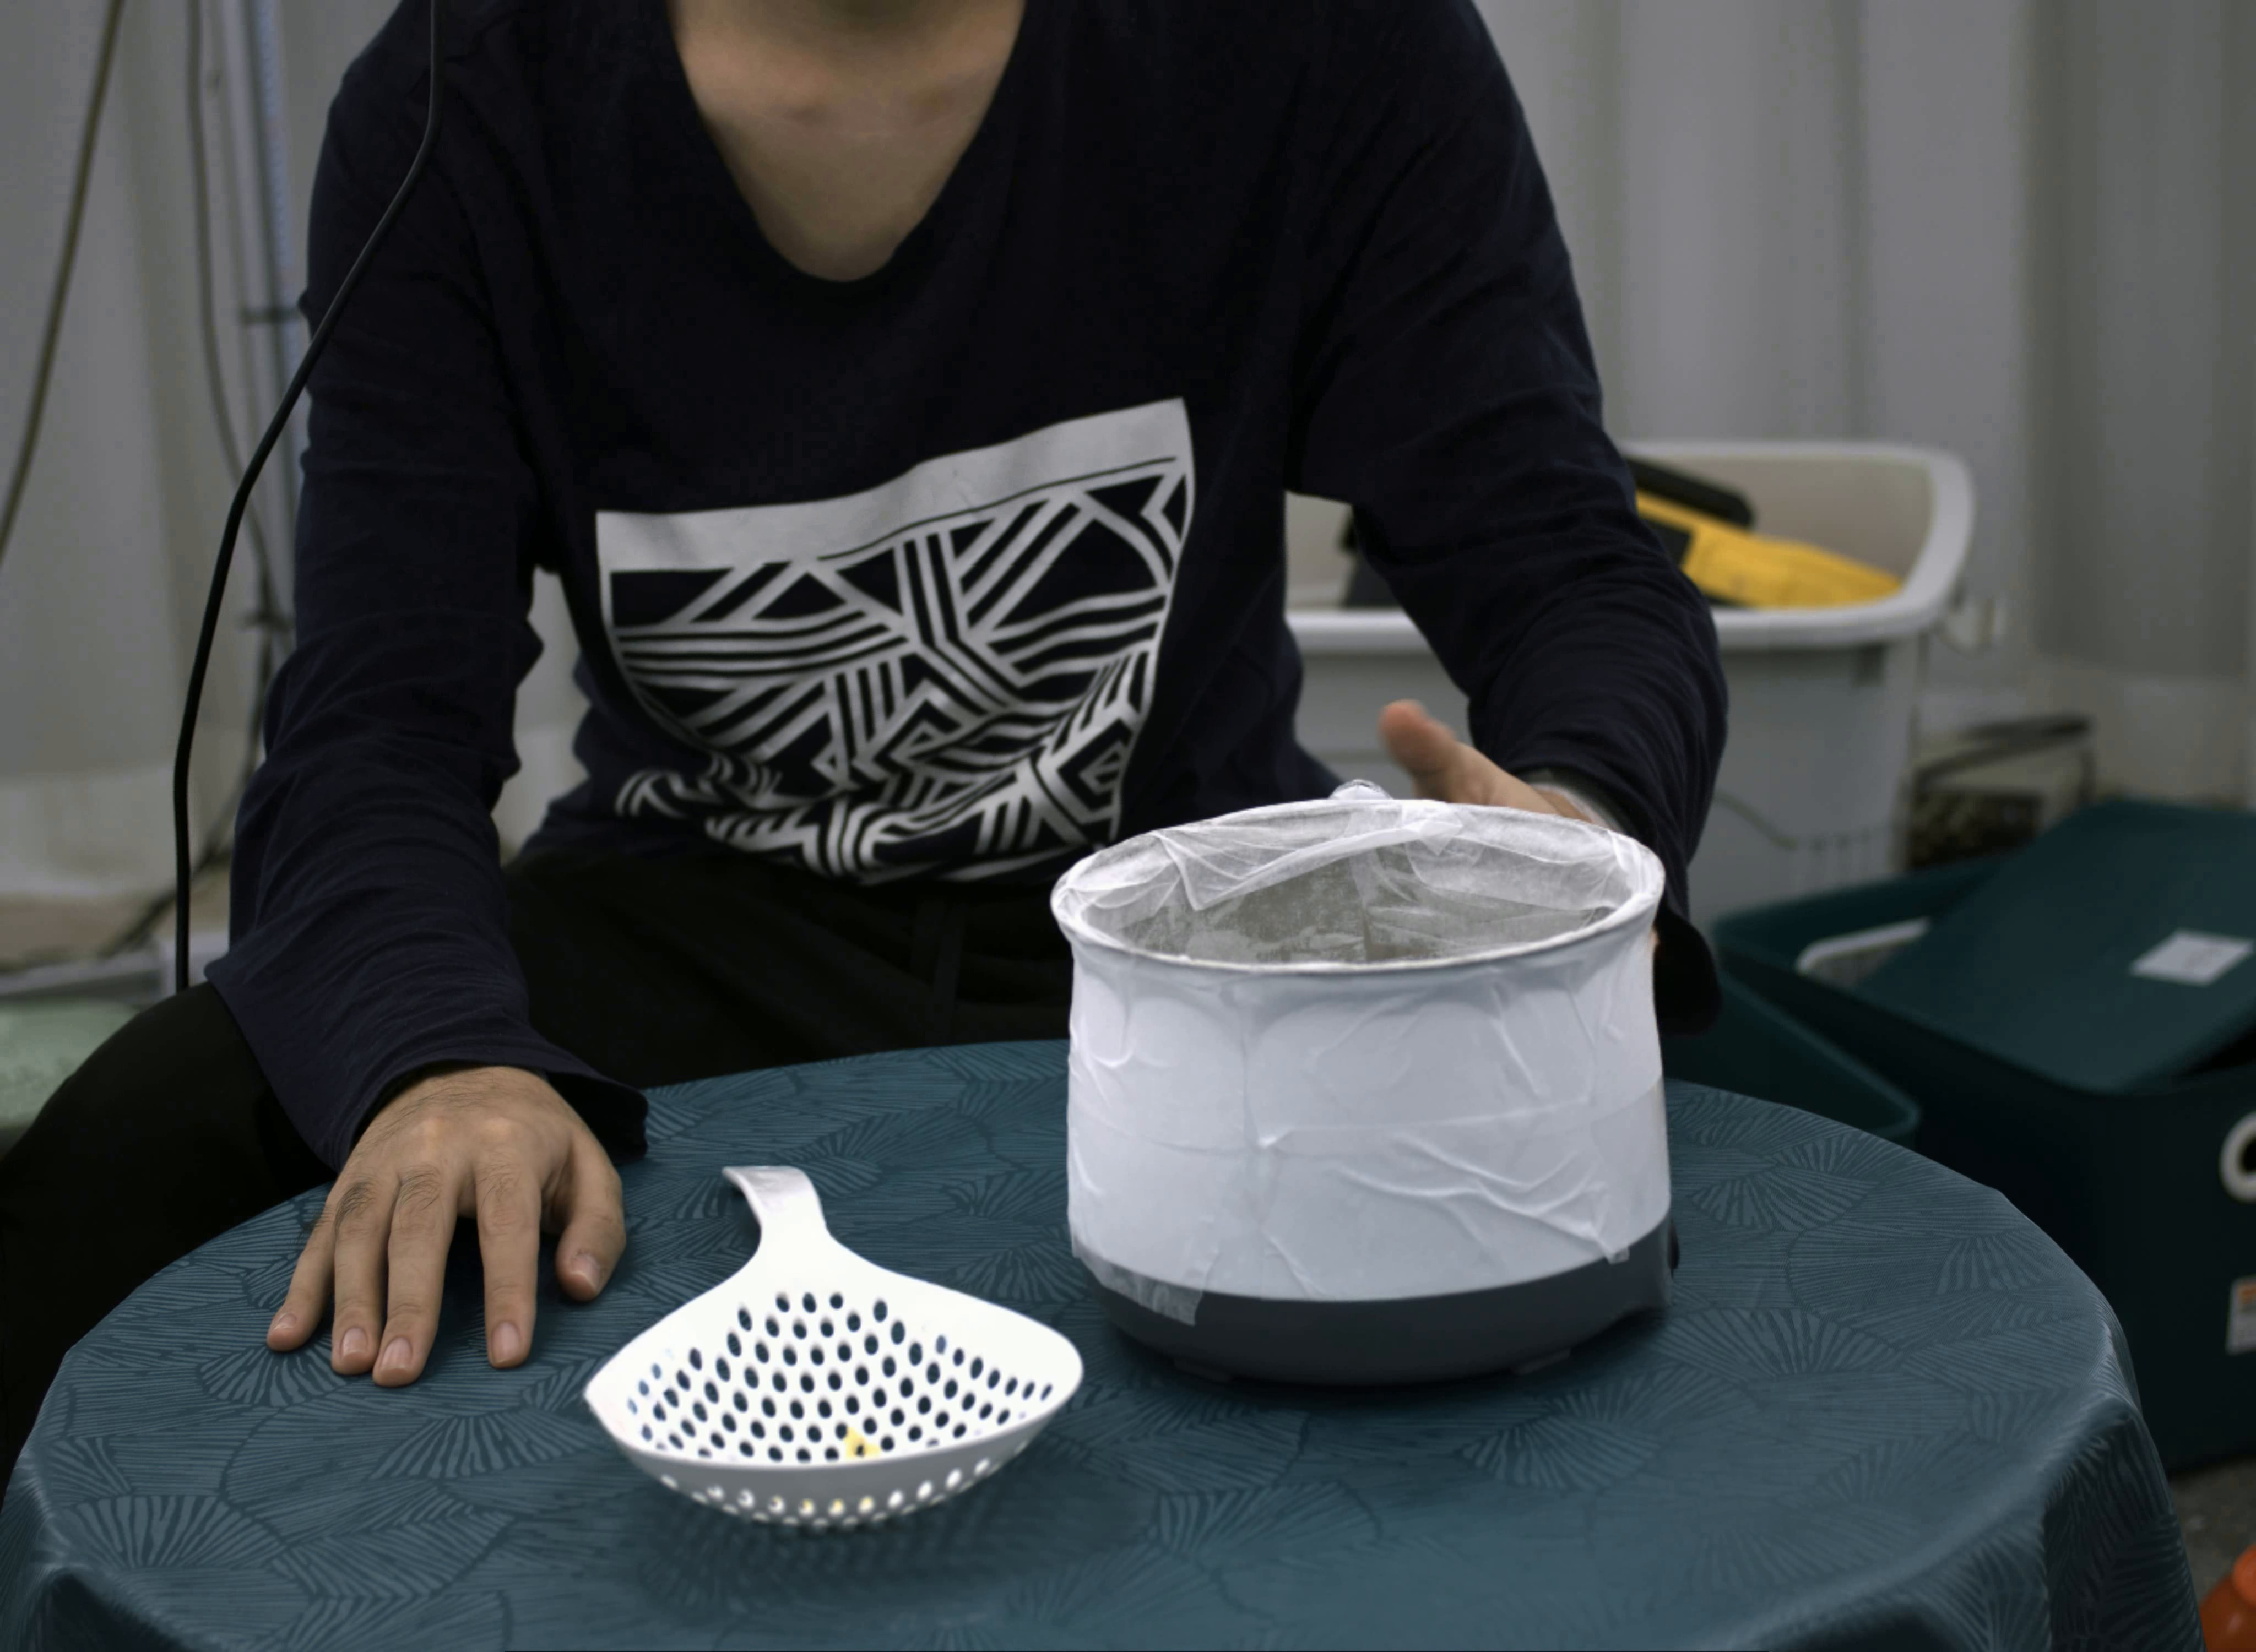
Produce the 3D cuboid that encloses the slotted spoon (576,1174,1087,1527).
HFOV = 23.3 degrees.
[{"bbox_3d":[-0.096,0.136,1.570,0.136,0.050,0.351,-6,16,-8],"label":"slotted spoon"}]

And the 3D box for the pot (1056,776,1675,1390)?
[{"bbox_3d":[0.069,0.070,1.609,0.178,0.136,0.235,0,15,1],"label":"pot"}]
